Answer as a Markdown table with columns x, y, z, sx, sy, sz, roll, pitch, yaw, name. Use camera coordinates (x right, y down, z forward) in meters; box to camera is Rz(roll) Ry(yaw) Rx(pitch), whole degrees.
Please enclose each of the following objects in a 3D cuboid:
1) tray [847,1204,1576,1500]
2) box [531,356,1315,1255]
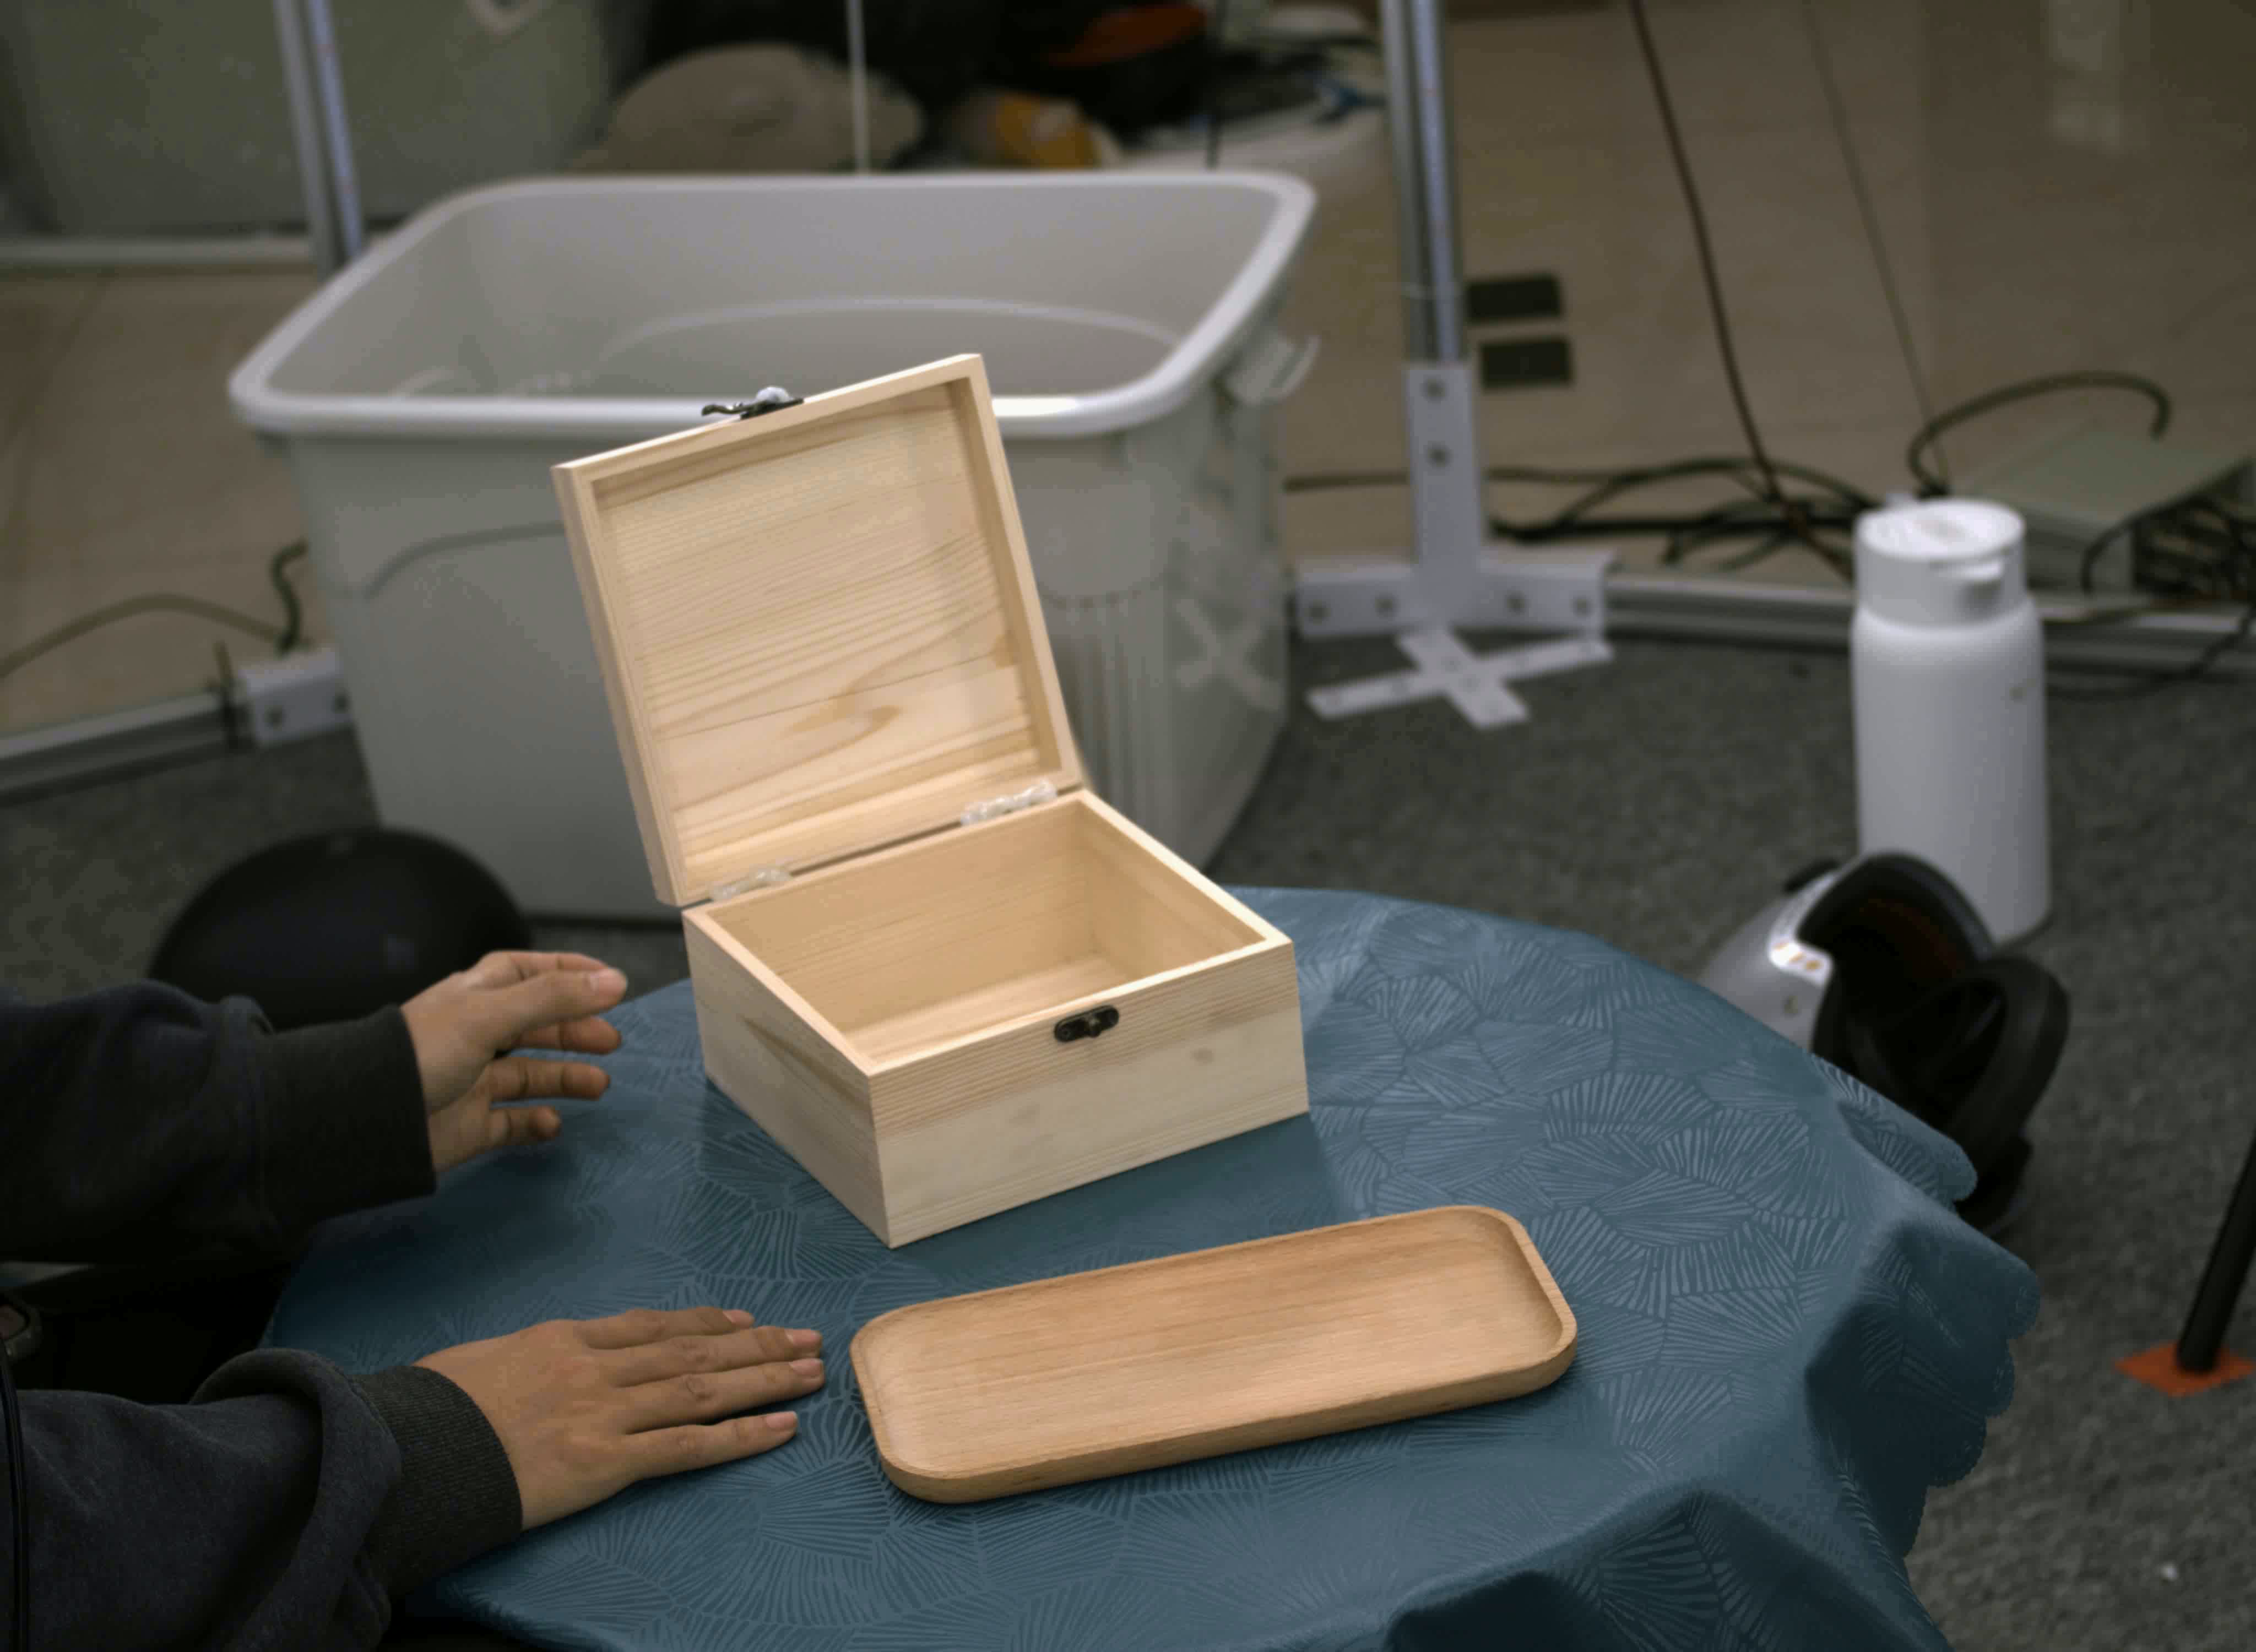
| x | y | z | sx | sy | sz | roll | pitch | yaw | name |
| --- | --- | --- | --- | --- | --- | --- | --- | --- | --- |
| 0.029 | 0.186 | 2.016 | 0.250 | 0.023 | 0.129 | -10 | 22 | -7 | tray |
| -0.080 | -0.015 | 2.205 | 0.181 | 0.257 | 0.262 | -20 | 27 | -21 | box |
